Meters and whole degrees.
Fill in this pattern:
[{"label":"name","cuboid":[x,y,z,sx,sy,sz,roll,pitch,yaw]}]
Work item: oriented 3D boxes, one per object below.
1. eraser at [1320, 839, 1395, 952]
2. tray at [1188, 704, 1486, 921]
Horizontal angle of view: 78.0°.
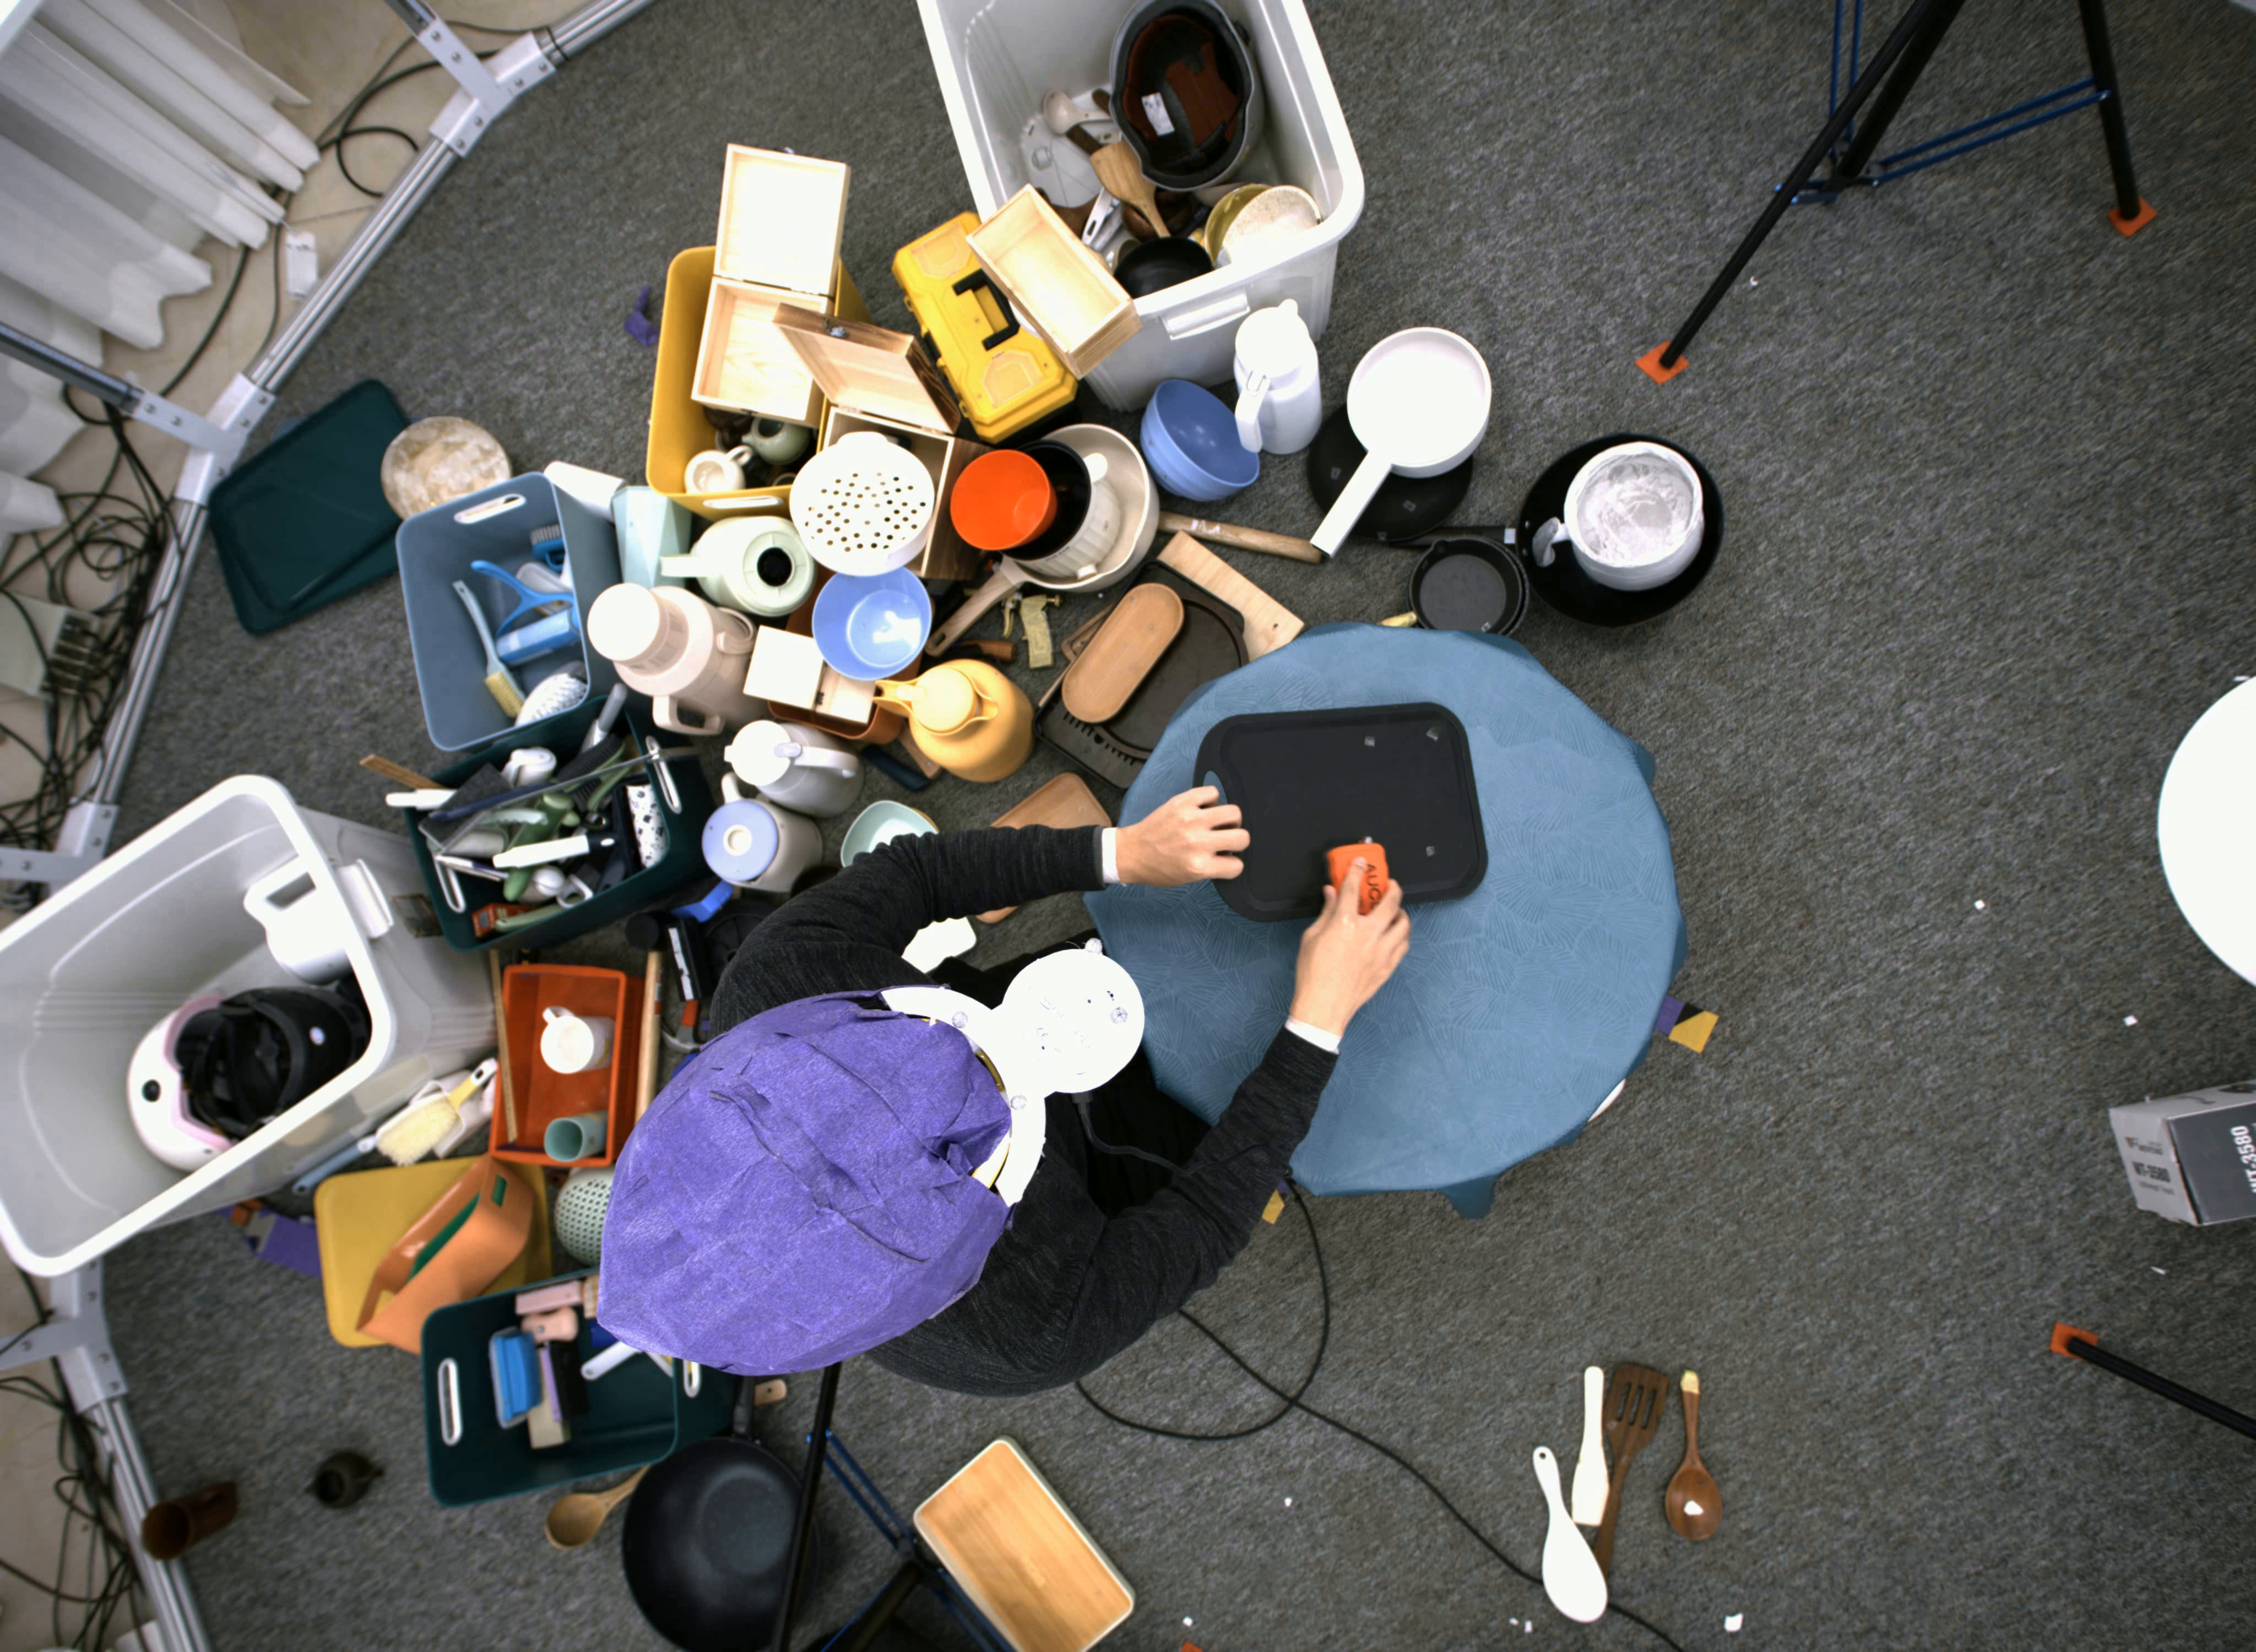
[{"label":"eraser","cuboid":[0.229,0.068,1.380,0.059,0.023,0.108,-9,88,-13]},{"label":"tray","cuboid":[0.215,-0.018,1.397,0.324,0.010,0.210,-5,85,-18]}]
